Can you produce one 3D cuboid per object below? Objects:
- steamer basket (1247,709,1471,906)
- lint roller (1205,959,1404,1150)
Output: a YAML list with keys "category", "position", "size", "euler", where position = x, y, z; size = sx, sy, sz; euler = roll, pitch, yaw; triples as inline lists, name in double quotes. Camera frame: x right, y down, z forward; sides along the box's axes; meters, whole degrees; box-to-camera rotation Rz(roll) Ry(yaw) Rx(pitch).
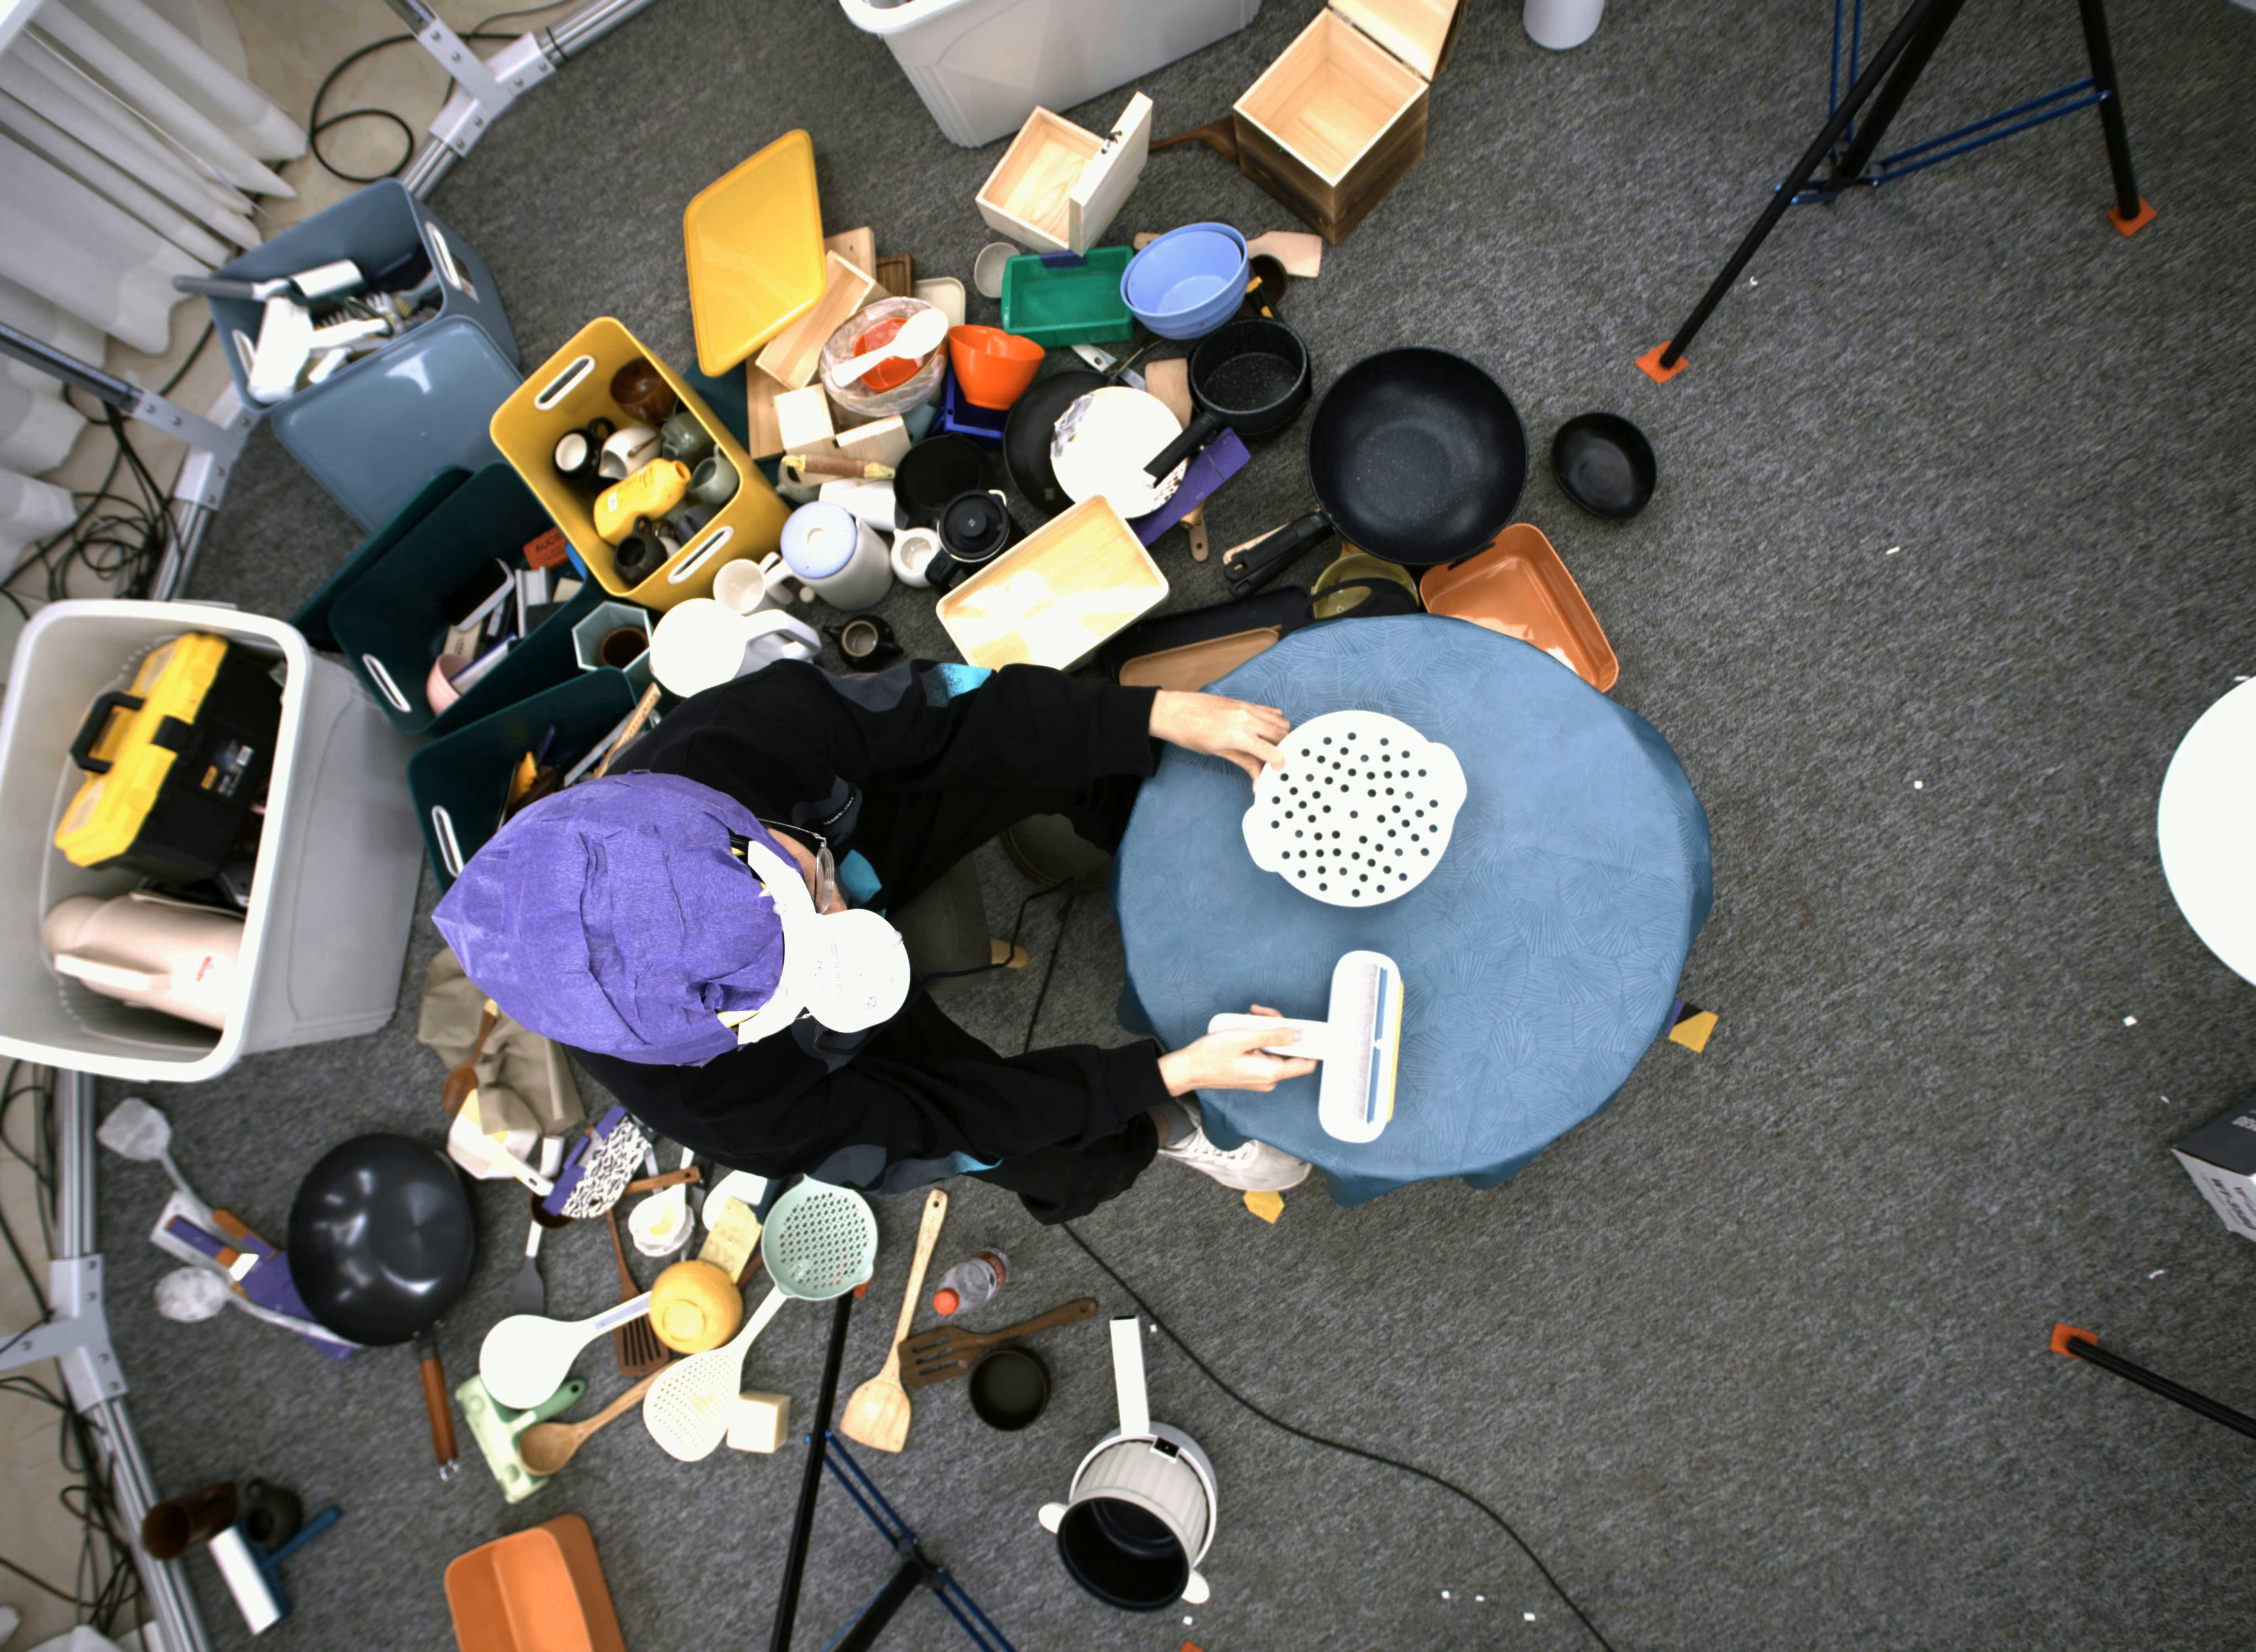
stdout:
- category: "steamer basket"
  position: [0.239, -0.018, 1.426]
  size: [0.232, 0.069, 0.200]
  euler: [-21, 81, 11]
- category: "lint roller"
  position: [0.173, 0.217, 1.401]
  size: [0.193, 0.075, 0.190]
  euler: [11, 77, 4]
